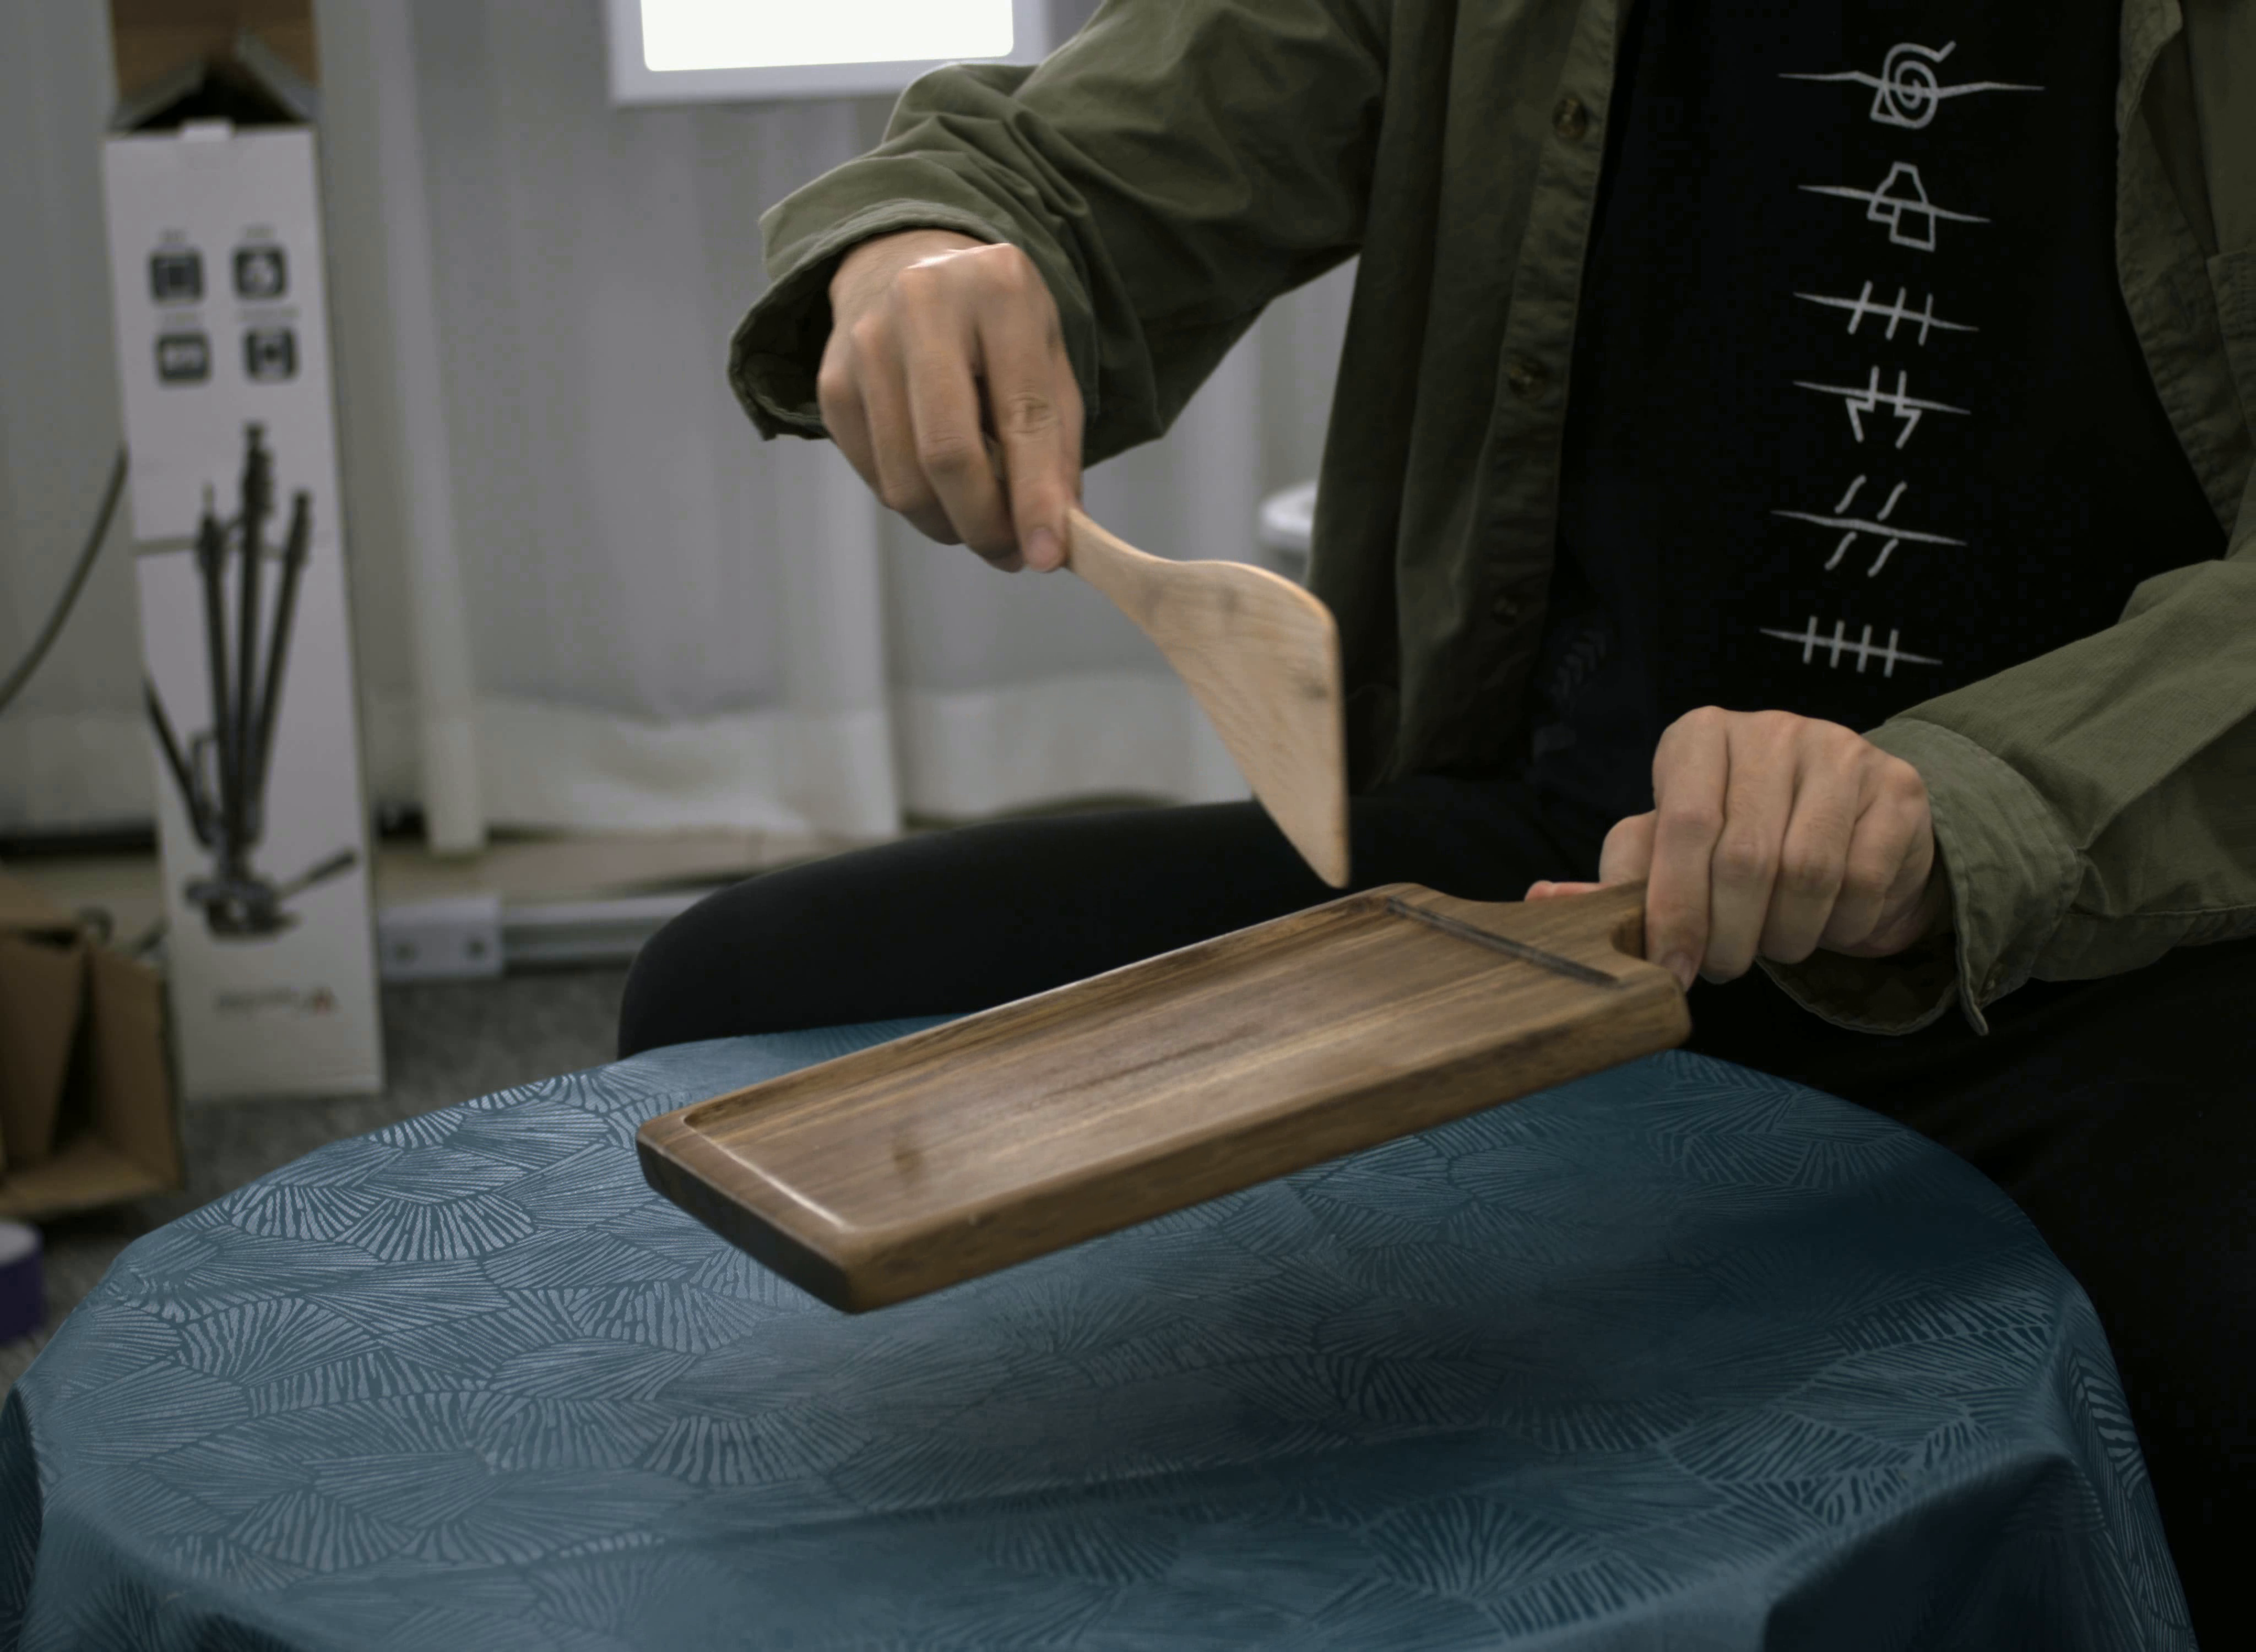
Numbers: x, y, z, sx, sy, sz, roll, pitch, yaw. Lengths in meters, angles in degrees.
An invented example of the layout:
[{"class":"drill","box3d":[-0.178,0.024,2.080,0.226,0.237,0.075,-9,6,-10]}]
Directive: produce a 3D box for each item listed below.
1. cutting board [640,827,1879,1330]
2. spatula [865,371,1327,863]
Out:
[{"class":"cutting board","box3d":[0.052,0.060,1.518,0.351,0.023,0.202,-17,12,-17]},{"class":"spatula","box3d":[-0.013,-0.081,1.646,0.016,0.079,0.331,-11,26,-24]}]
